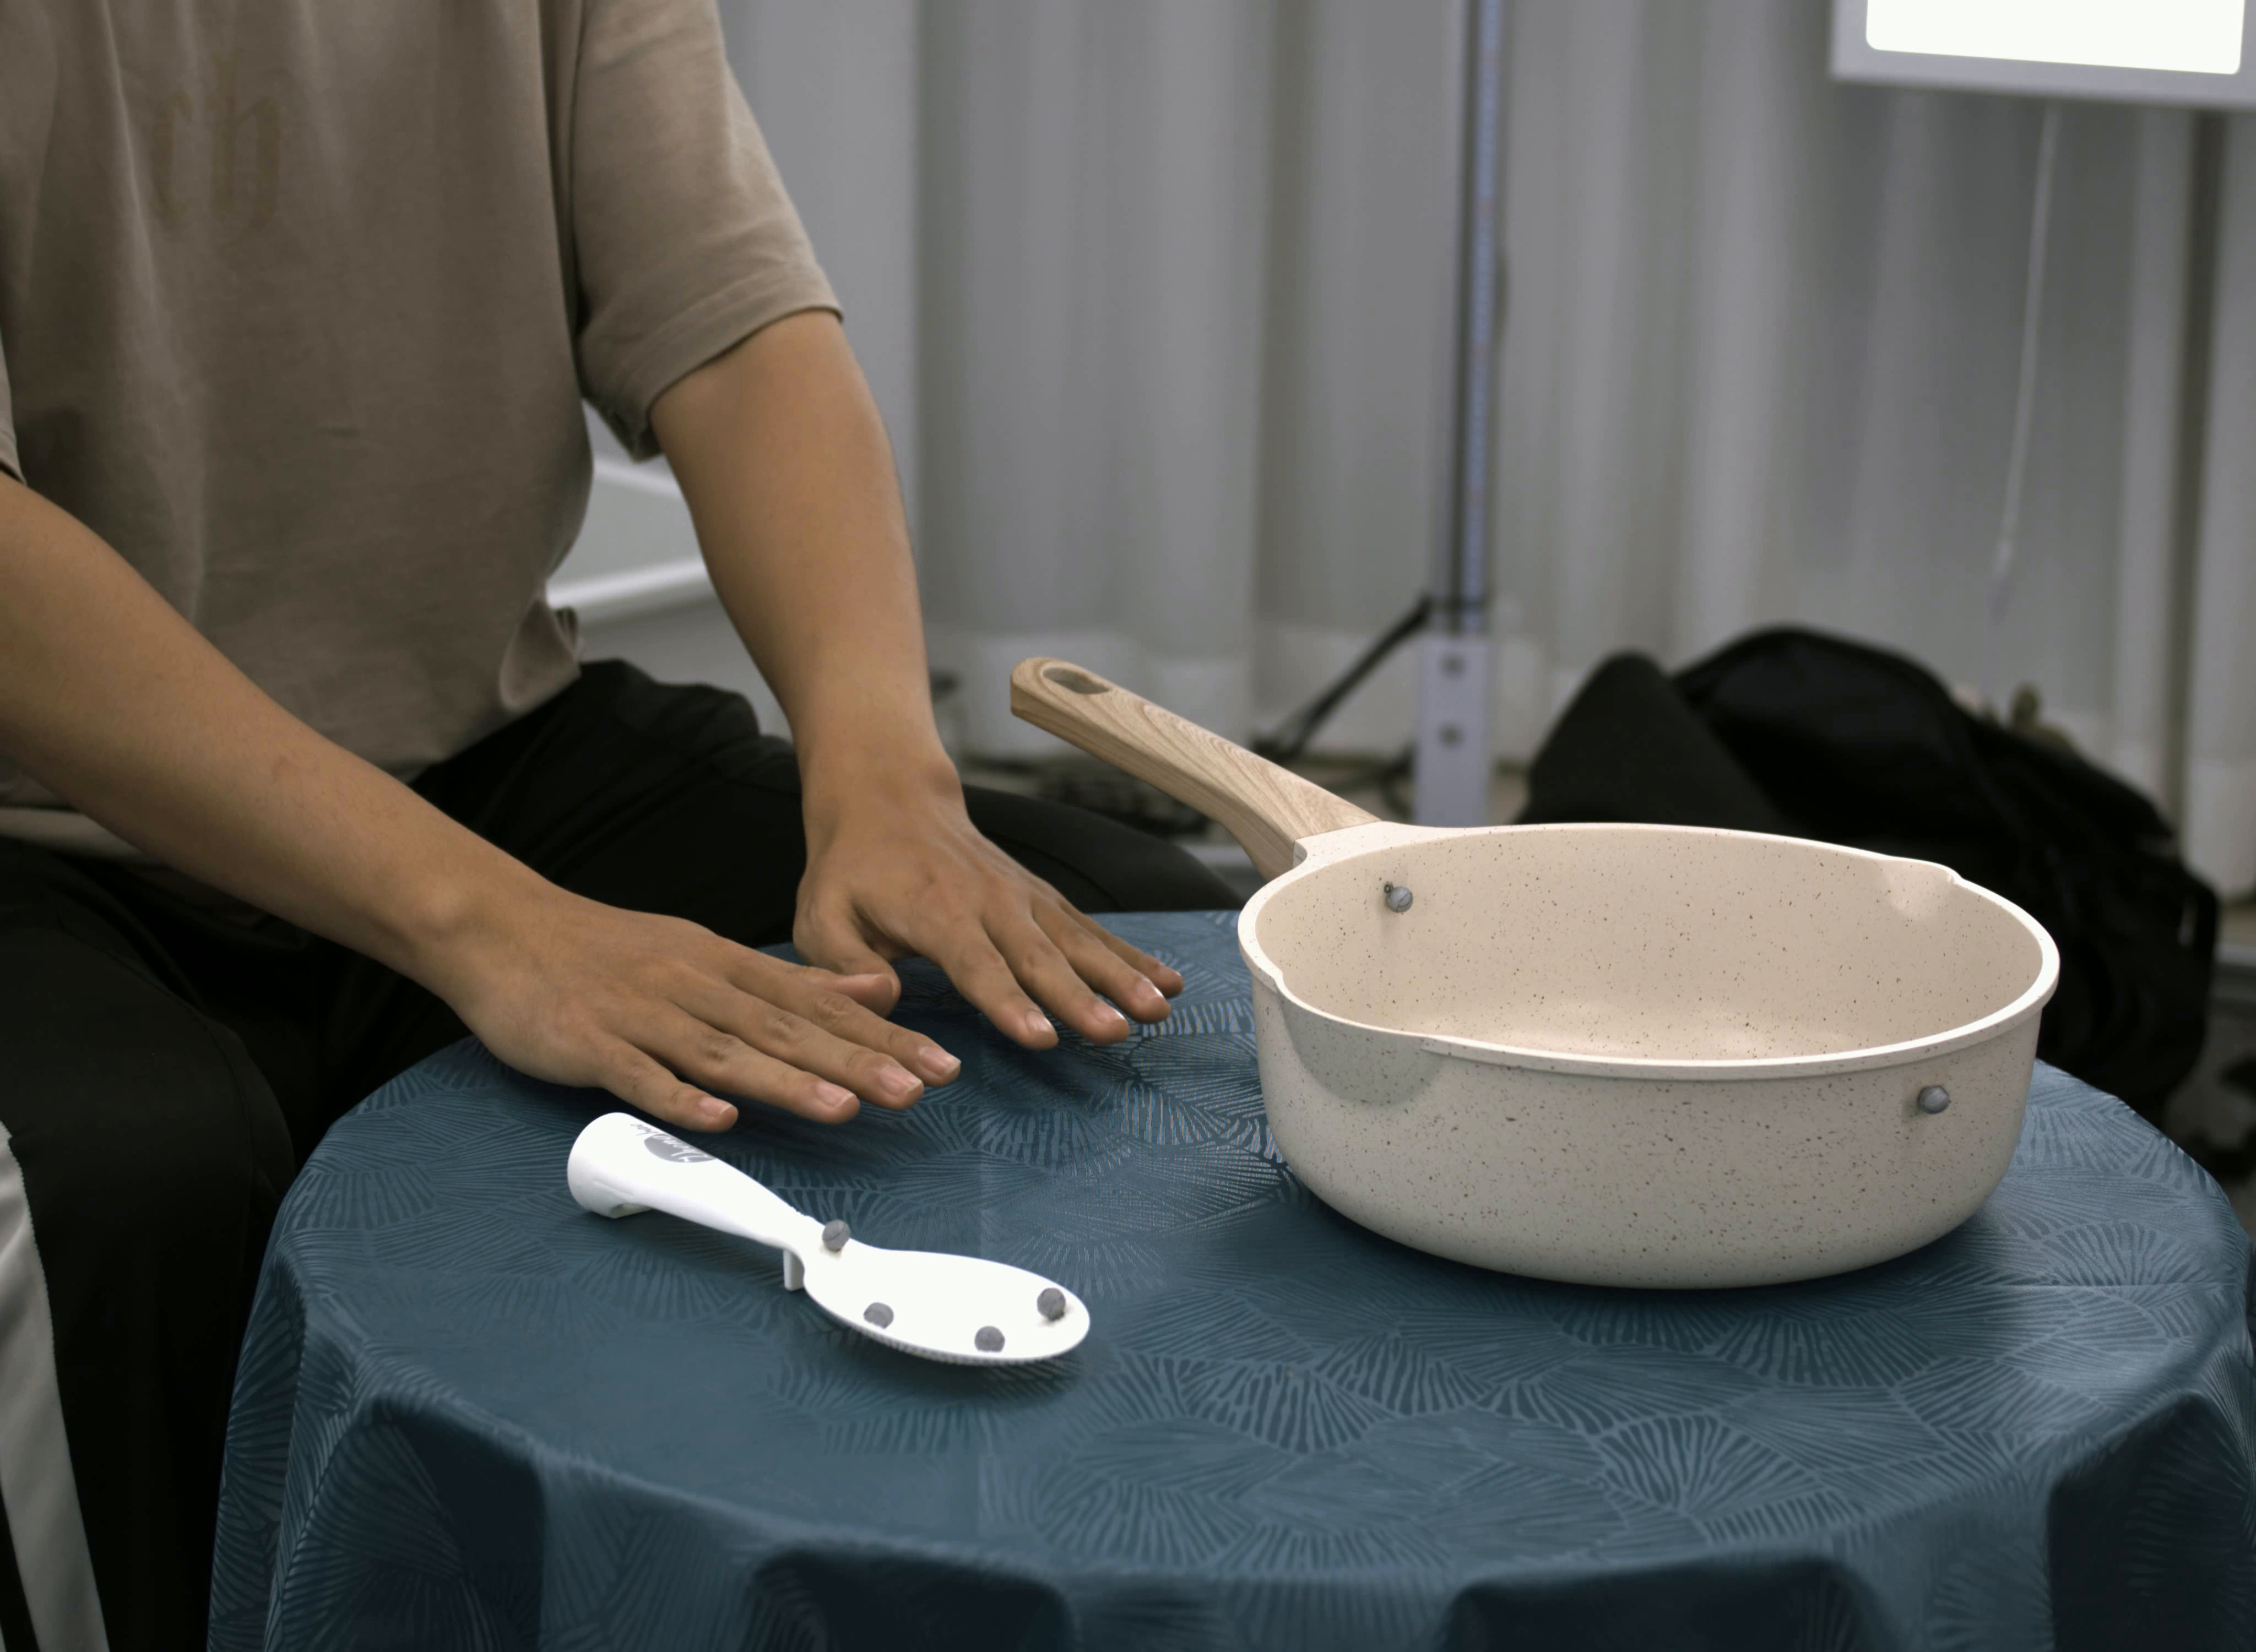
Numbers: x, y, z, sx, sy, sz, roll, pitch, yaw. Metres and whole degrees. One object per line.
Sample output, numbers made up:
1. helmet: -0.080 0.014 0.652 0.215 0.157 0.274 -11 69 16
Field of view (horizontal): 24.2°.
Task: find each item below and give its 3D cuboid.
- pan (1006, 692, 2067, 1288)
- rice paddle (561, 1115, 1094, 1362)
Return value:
1. pan: 0.105 0.046 1.697 0.264 0.103 0.429 -15 21 -37
2. rice paddle: -0.089 0.122 1.530 0.069 0.029 0.202 -13 21 -43
